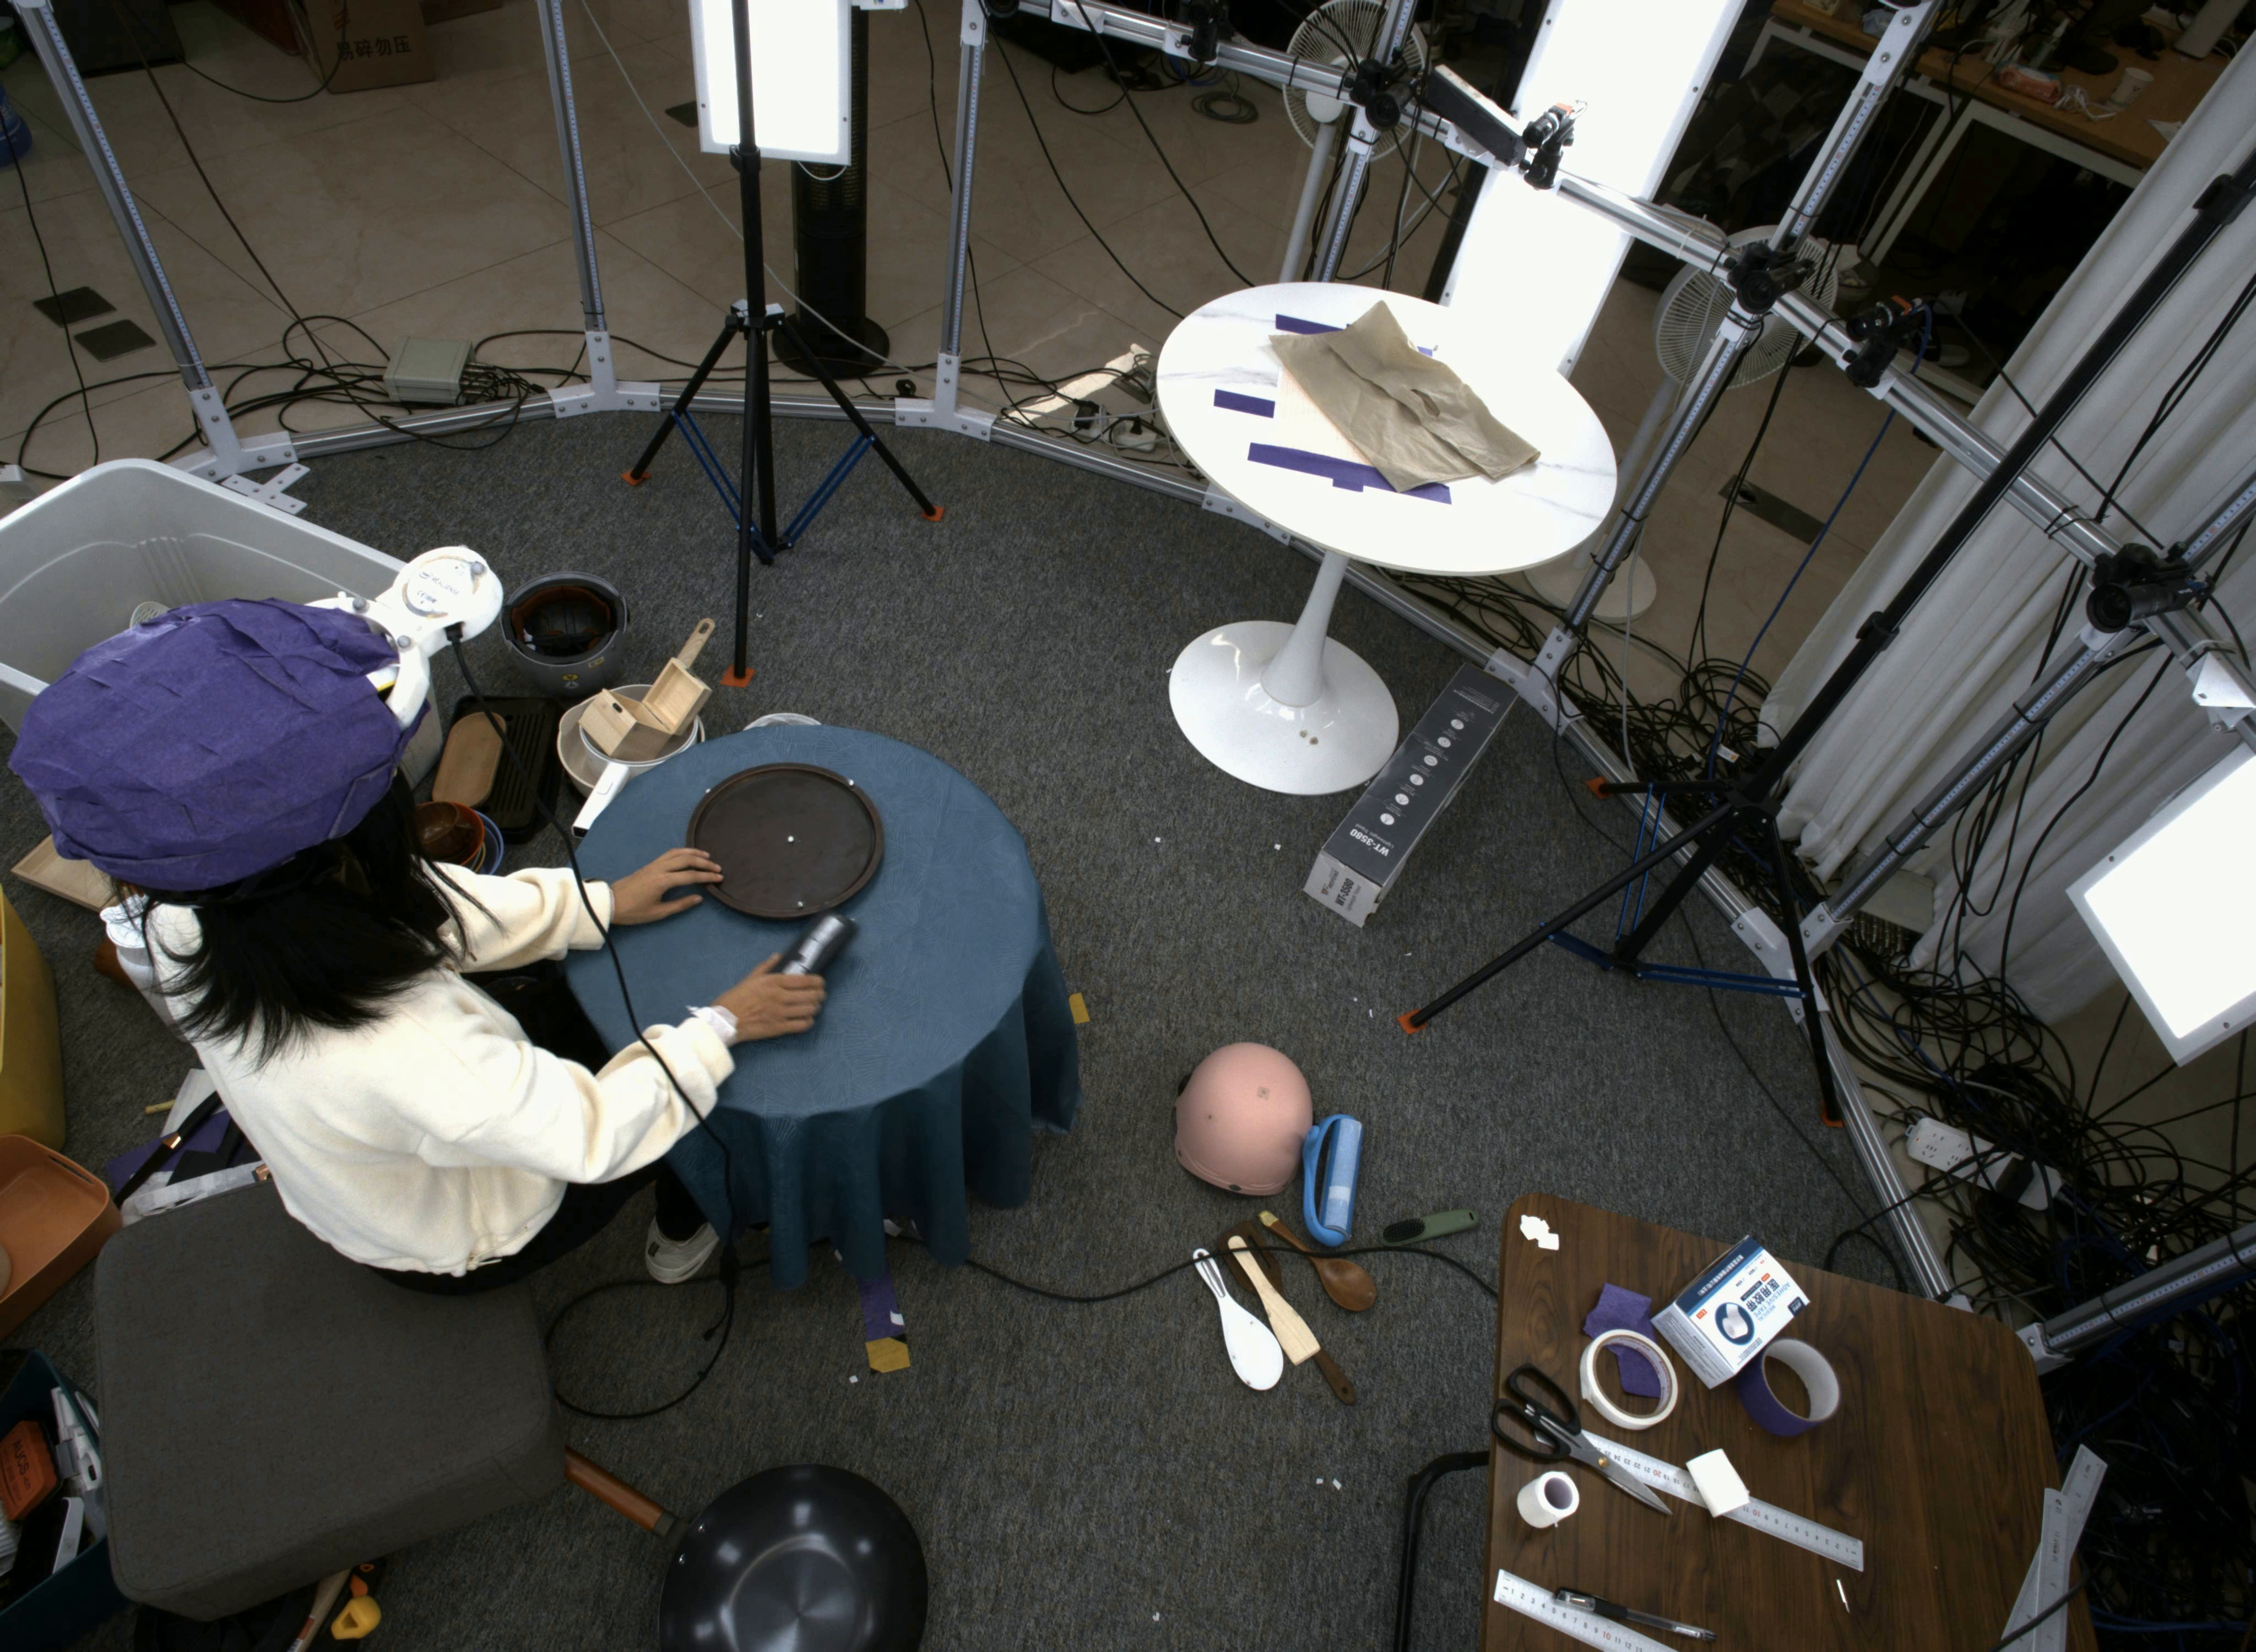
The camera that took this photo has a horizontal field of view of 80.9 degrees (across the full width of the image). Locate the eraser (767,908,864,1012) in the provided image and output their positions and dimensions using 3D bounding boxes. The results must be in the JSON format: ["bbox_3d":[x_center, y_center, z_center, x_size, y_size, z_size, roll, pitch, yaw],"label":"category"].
[{"bbox_3d":[-0.377,0.158,1.571,0.052,0.031,0.125,30,61,9],"label":"eraser"}]

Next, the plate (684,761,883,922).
[{"bbox_3d":[-0.446,0.018,1.684,0.254,0.029,0.250,9,51,-10],"label":"plate"}]
